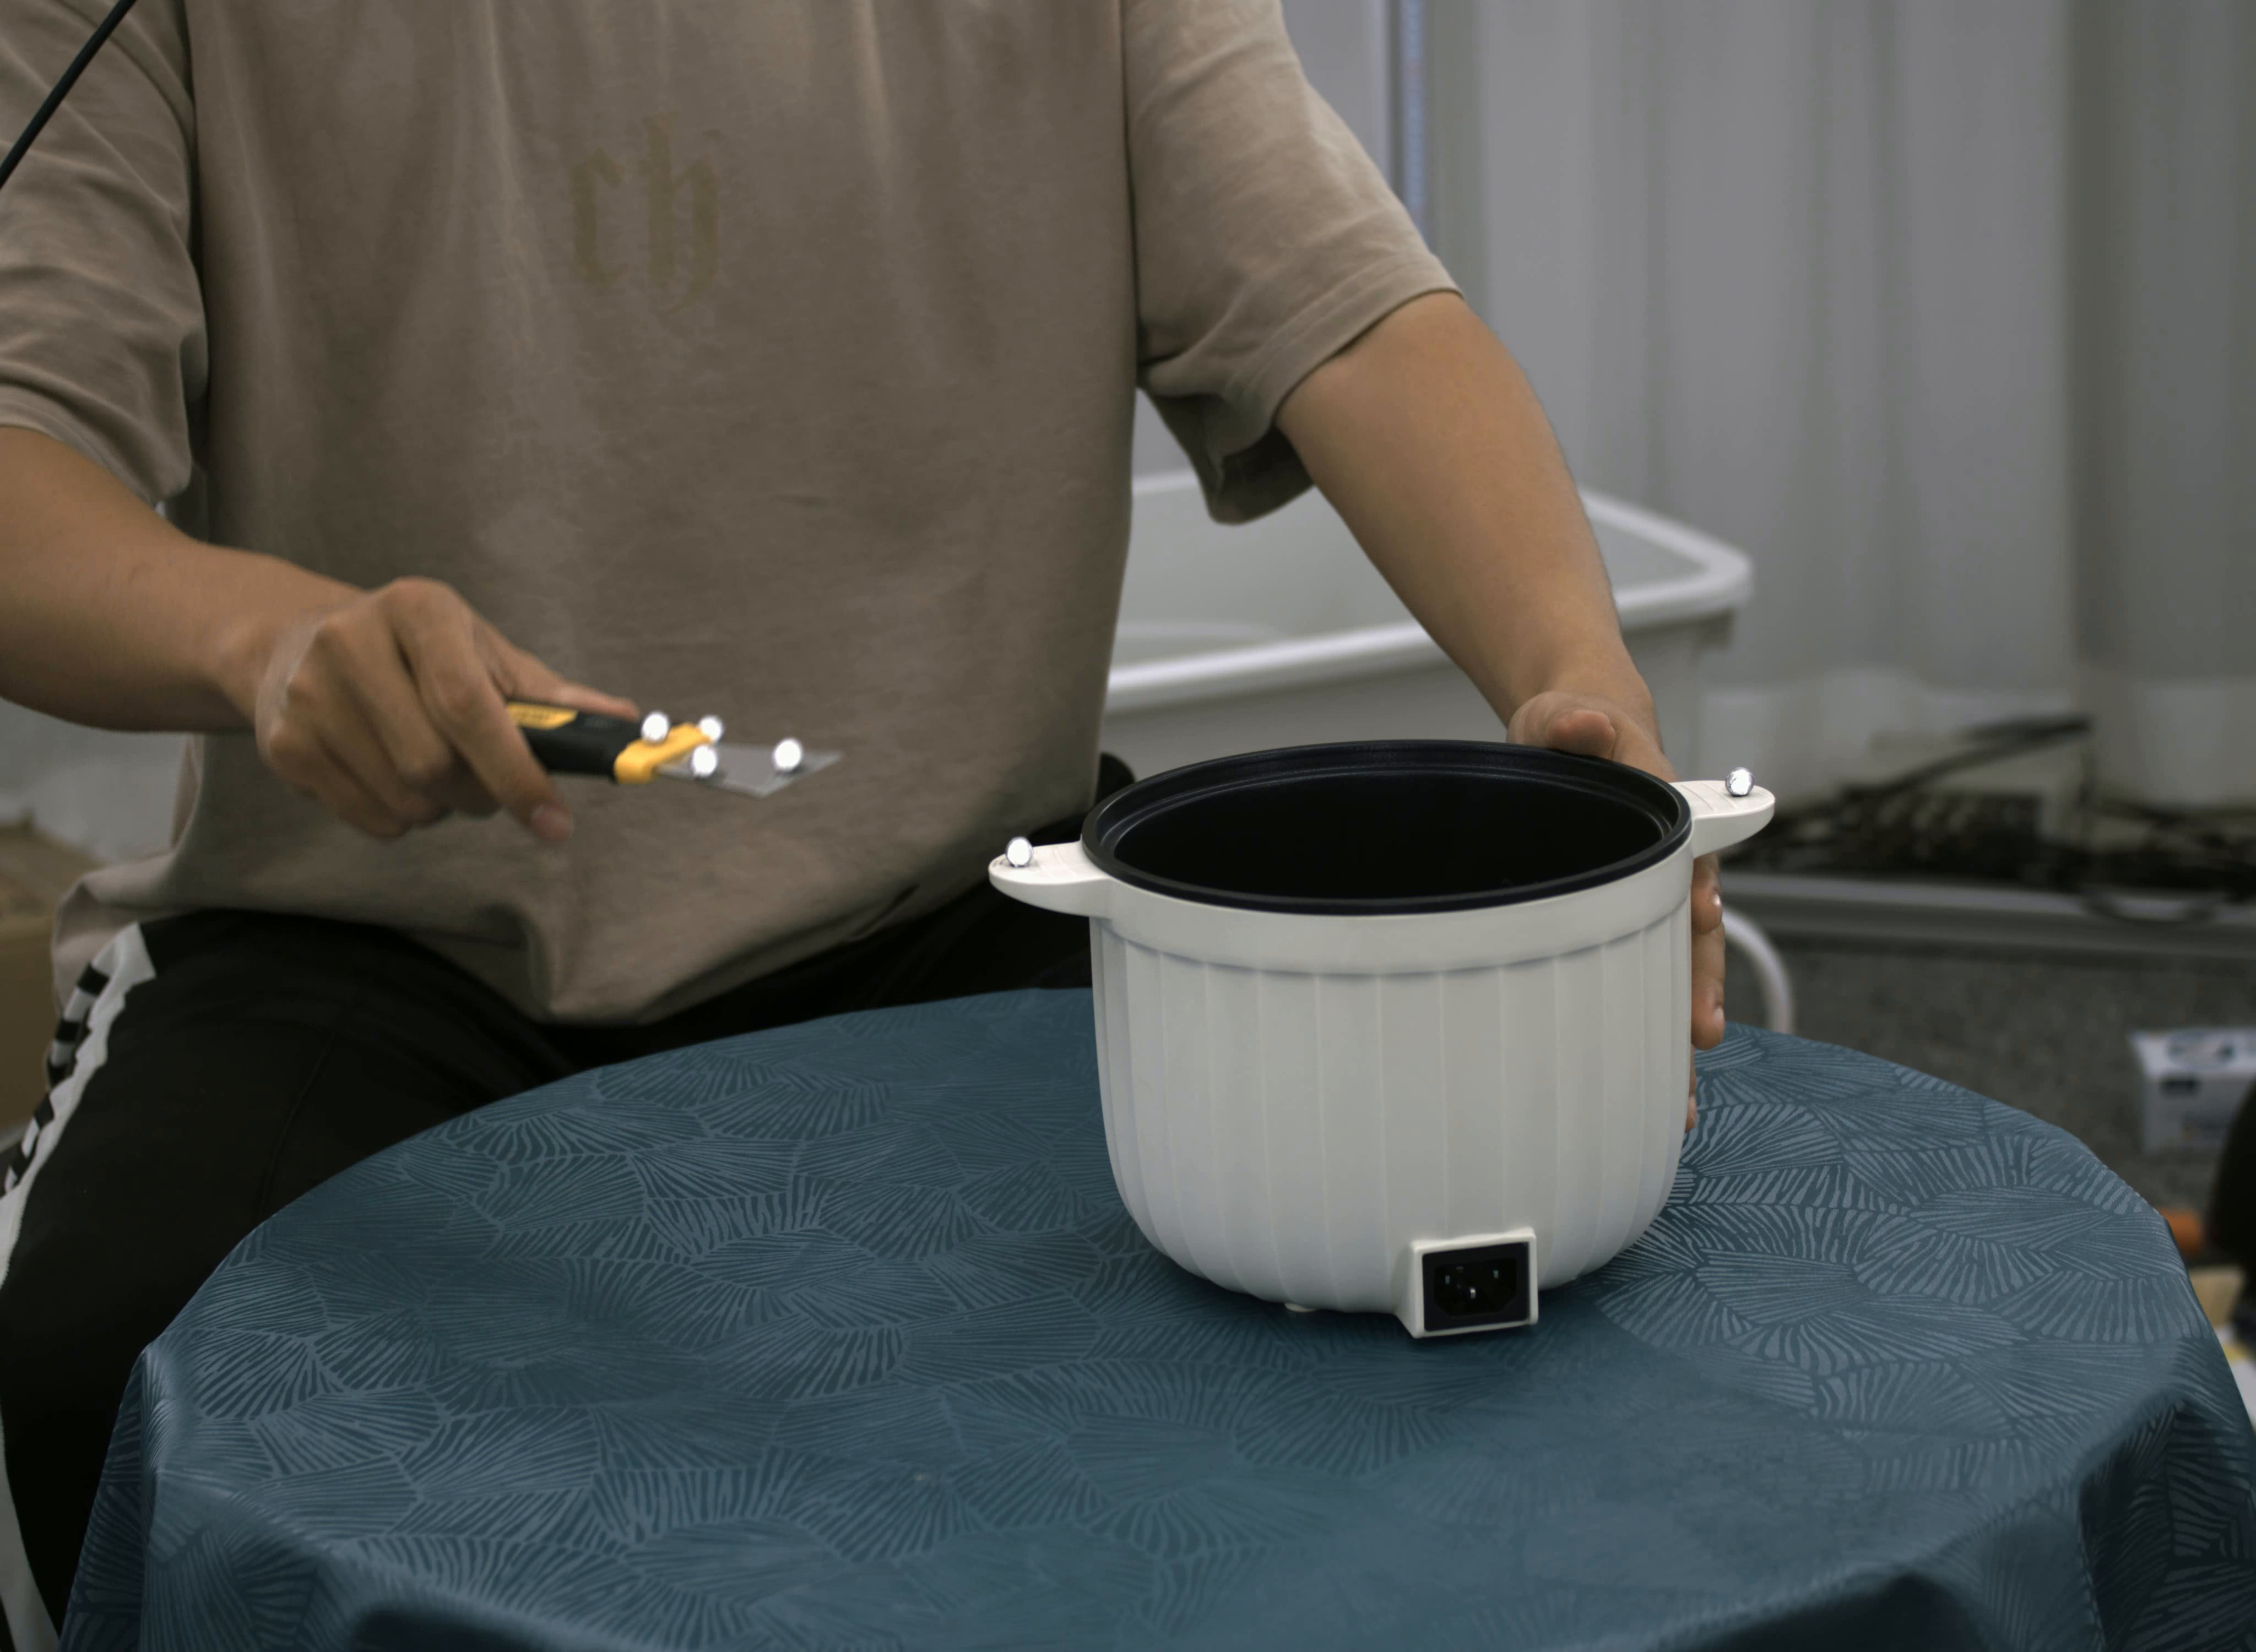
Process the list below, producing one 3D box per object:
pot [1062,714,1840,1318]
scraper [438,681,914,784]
[{"bbox_3d":[0.097,0.054,1.642,0.239,0.142,0.192,-5,18,-13],"label":"pot"},{"bbox_3d":[-0.136,-0.027,1.587,0.171,0.015,0.039,7,28,39],"label":"scraper"}]
